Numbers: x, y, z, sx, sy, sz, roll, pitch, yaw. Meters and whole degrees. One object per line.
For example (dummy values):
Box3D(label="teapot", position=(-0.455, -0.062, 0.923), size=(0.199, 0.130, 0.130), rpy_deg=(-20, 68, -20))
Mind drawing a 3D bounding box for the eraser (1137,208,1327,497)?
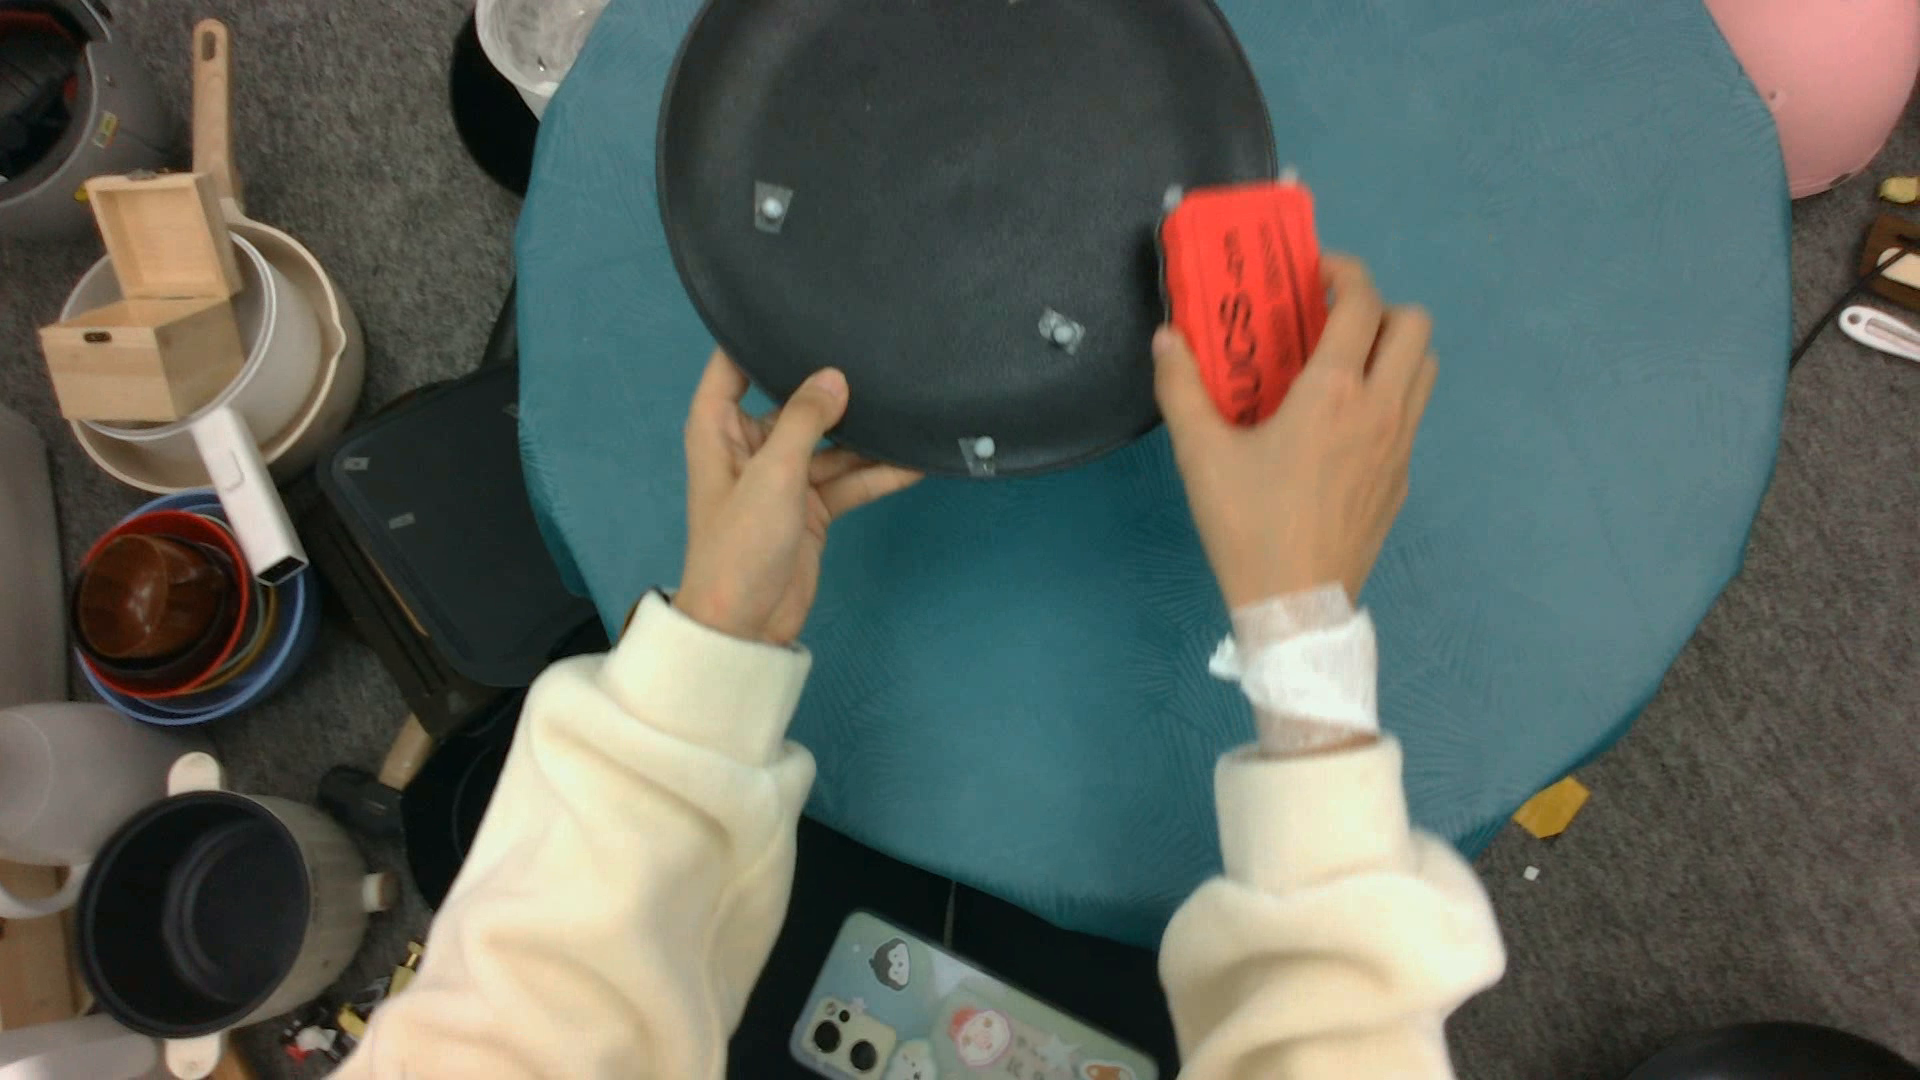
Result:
Box3D(label="eraser", position=(0.107, -0.074, 0.540), size=(0.059, 0.023, 0.108), rpy_deg=(-9, 88, -18))

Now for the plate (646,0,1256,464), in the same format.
Box3D(label="plate", position=(0.000, -0.149, 0.550), size=(0.244, 0.023, 0.244), rpy_deg=(1, 85, -10))
